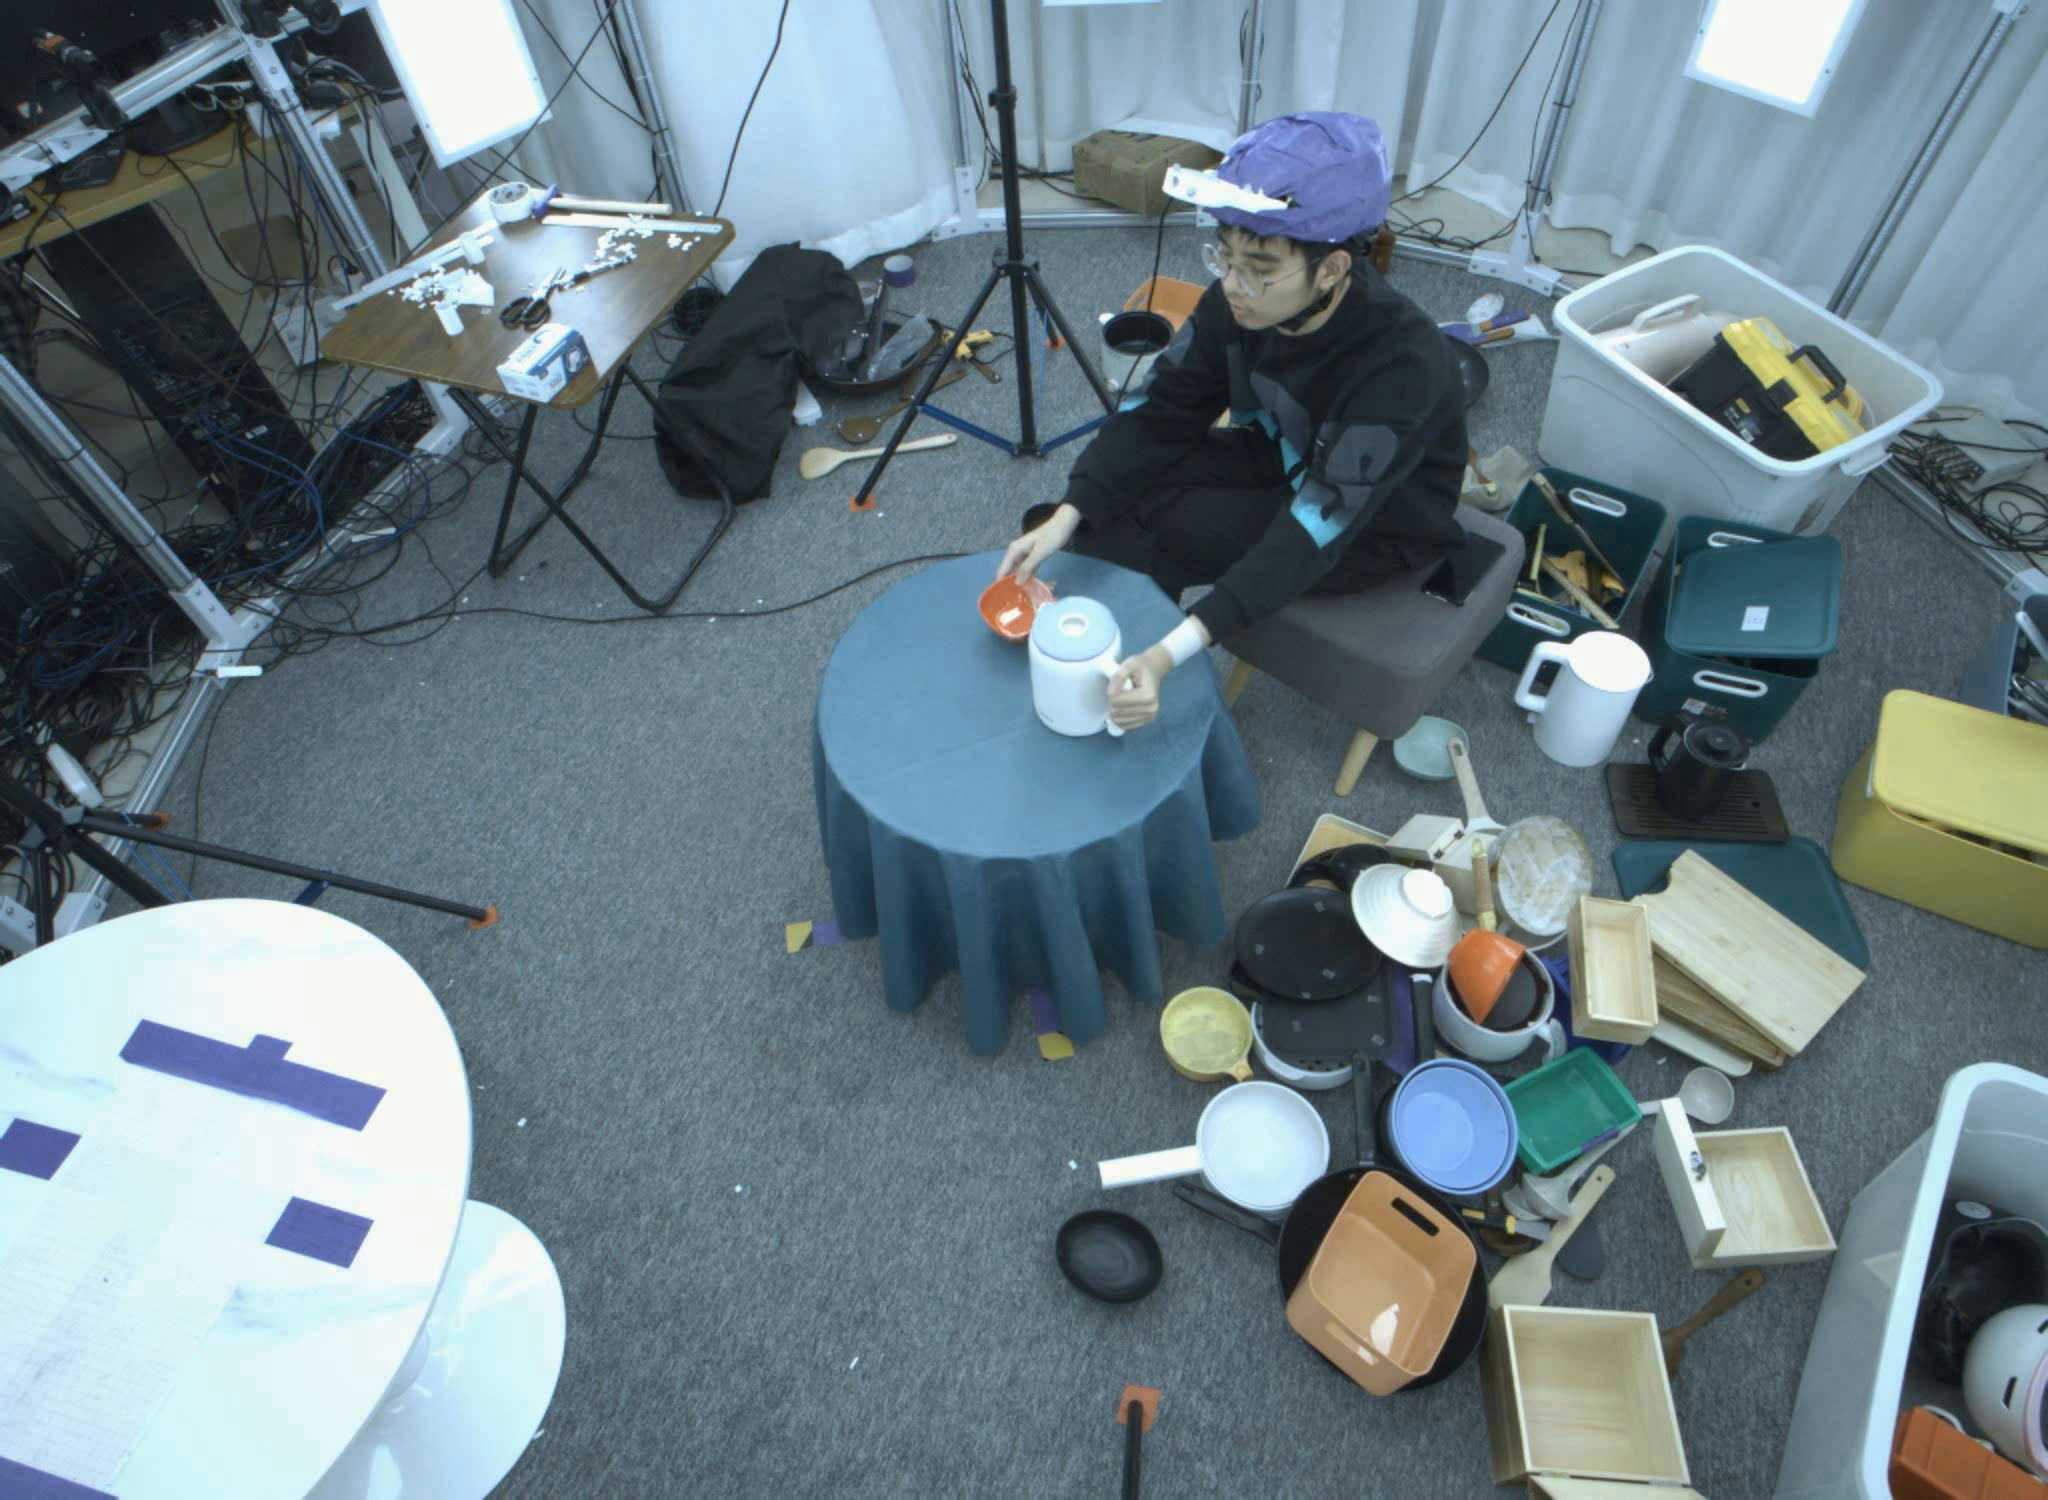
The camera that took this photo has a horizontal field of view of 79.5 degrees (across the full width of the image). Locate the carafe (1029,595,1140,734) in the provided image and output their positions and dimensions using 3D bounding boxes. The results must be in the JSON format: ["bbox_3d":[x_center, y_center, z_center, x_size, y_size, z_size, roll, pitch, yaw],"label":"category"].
[{"bbox_3d":[0.092,-0.107,1.751,0.133,0.184,0.188,-40,64,-21],"label":"carafe"}]

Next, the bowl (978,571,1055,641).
[{"bbox_3d":[-0.009,-0.213,1.880,0.118,0.052,0.118,-2,61,5],"label":"bowl"}]
